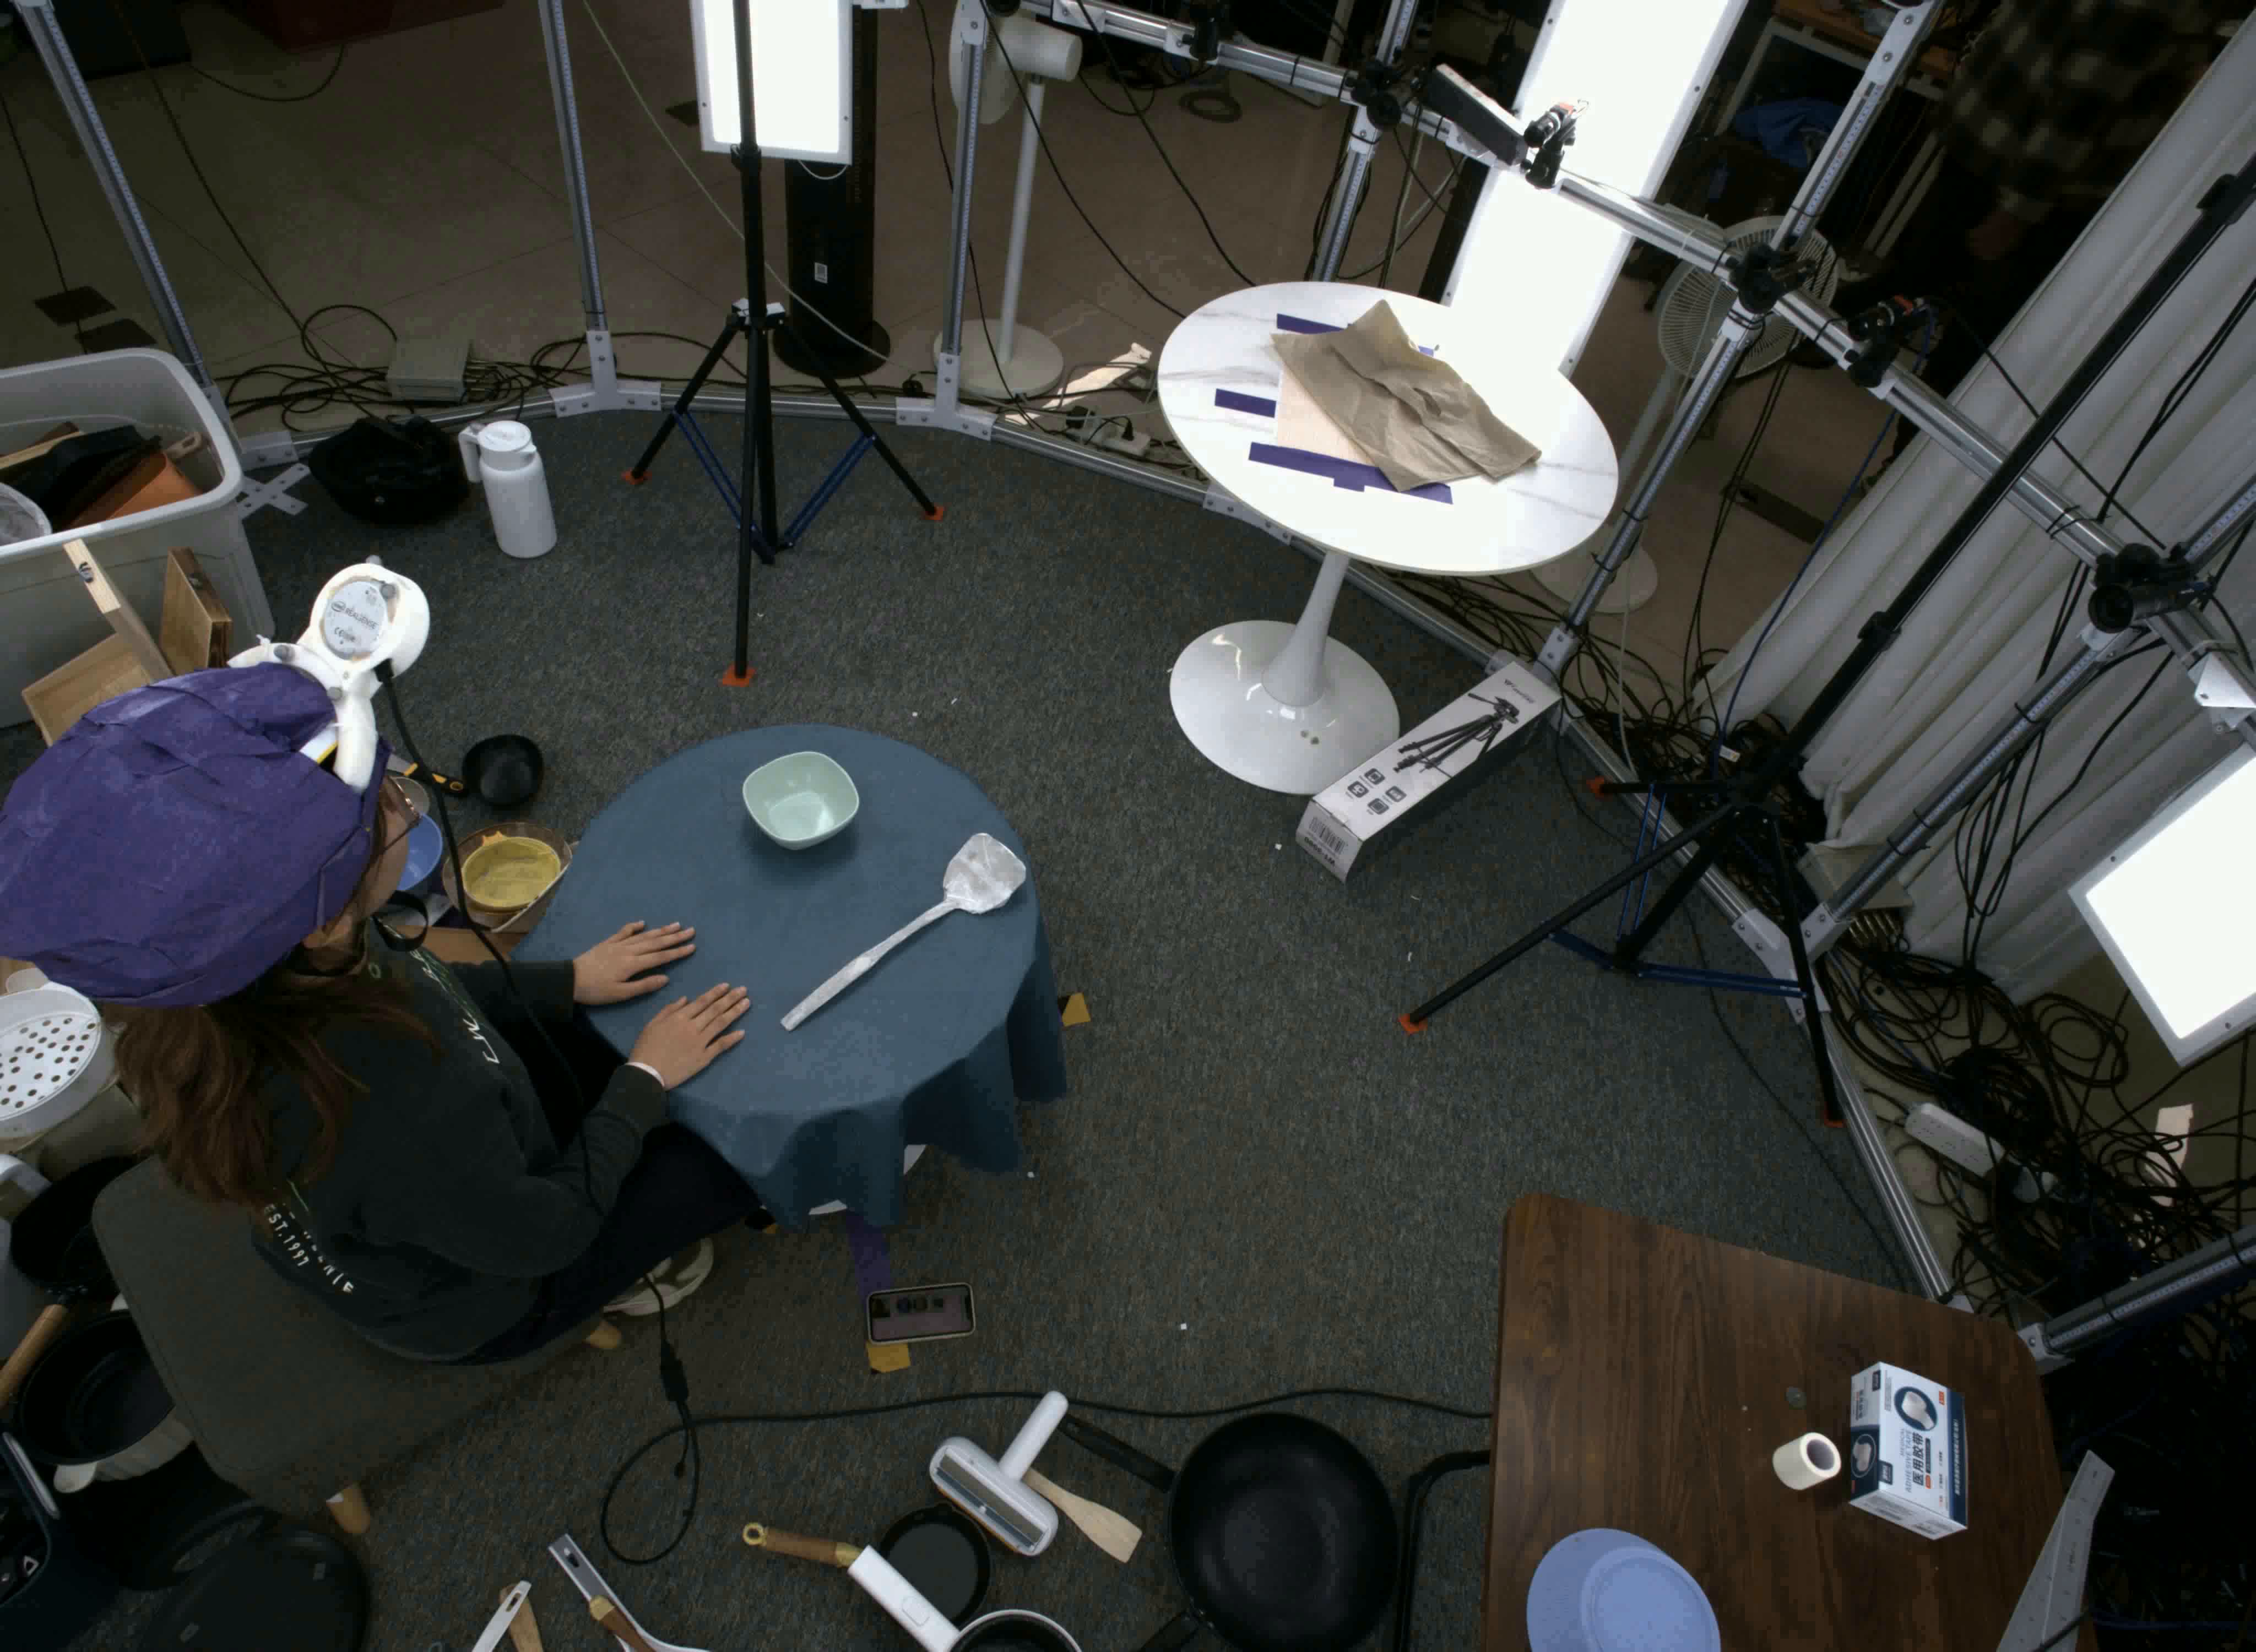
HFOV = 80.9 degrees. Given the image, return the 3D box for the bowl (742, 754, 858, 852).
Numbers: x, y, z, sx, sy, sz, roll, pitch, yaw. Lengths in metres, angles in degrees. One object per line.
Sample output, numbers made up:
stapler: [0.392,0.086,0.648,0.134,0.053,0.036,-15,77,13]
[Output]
bowl: [-0.431,-0.022,1.708,0.151,0.060,0.148,8,49,-8]

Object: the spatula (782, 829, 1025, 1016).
spatula: [-0.284,0.128,1.645,0.097,0.045,0.365,43,55,16]
